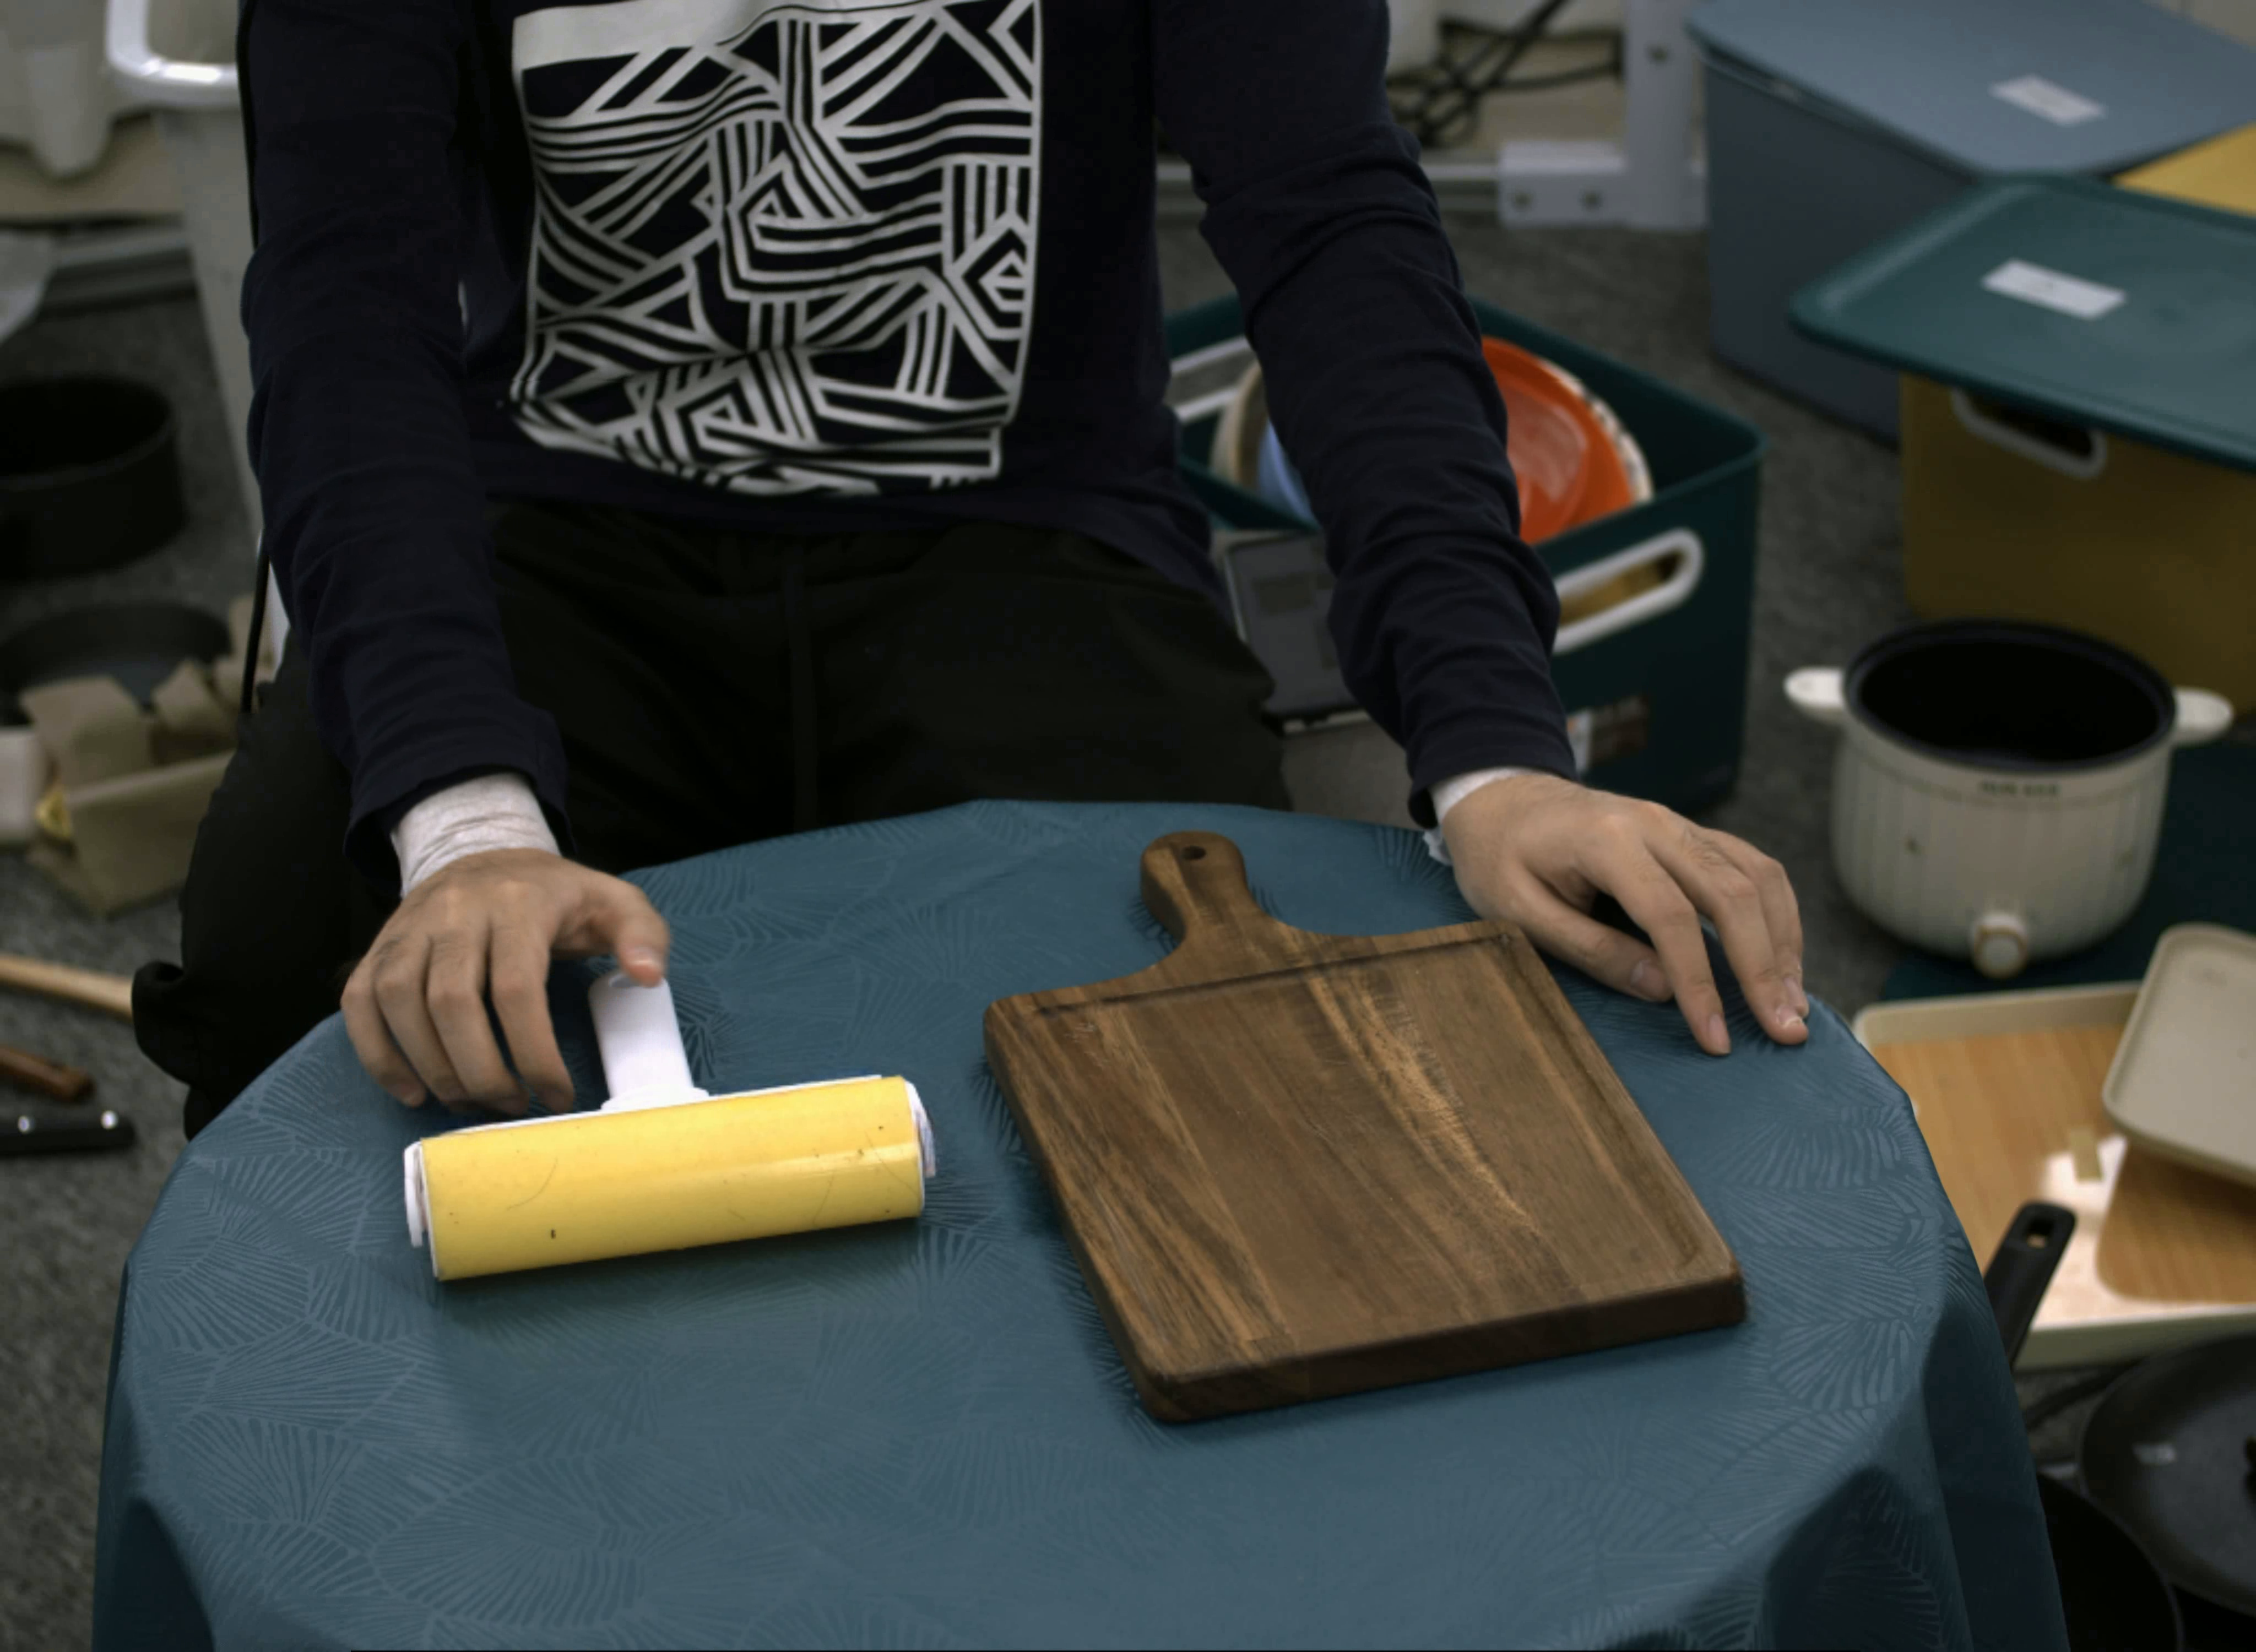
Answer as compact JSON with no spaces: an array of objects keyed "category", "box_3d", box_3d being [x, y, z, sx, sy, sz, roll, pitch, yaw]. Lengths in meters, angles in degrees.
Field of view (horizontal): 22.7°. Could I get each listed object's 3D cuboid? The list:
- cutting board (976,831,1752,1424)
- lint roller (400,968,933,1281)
[{"category":"cutting board","box_3d":[0.060,0.087,1.900,0.201,0.023,0.356,-8,27,-12]},{"category":"lint roller","box_3d":[-0.165,0.083,1.898,0.174,0.051,0.194,-7,30,-10]}]
